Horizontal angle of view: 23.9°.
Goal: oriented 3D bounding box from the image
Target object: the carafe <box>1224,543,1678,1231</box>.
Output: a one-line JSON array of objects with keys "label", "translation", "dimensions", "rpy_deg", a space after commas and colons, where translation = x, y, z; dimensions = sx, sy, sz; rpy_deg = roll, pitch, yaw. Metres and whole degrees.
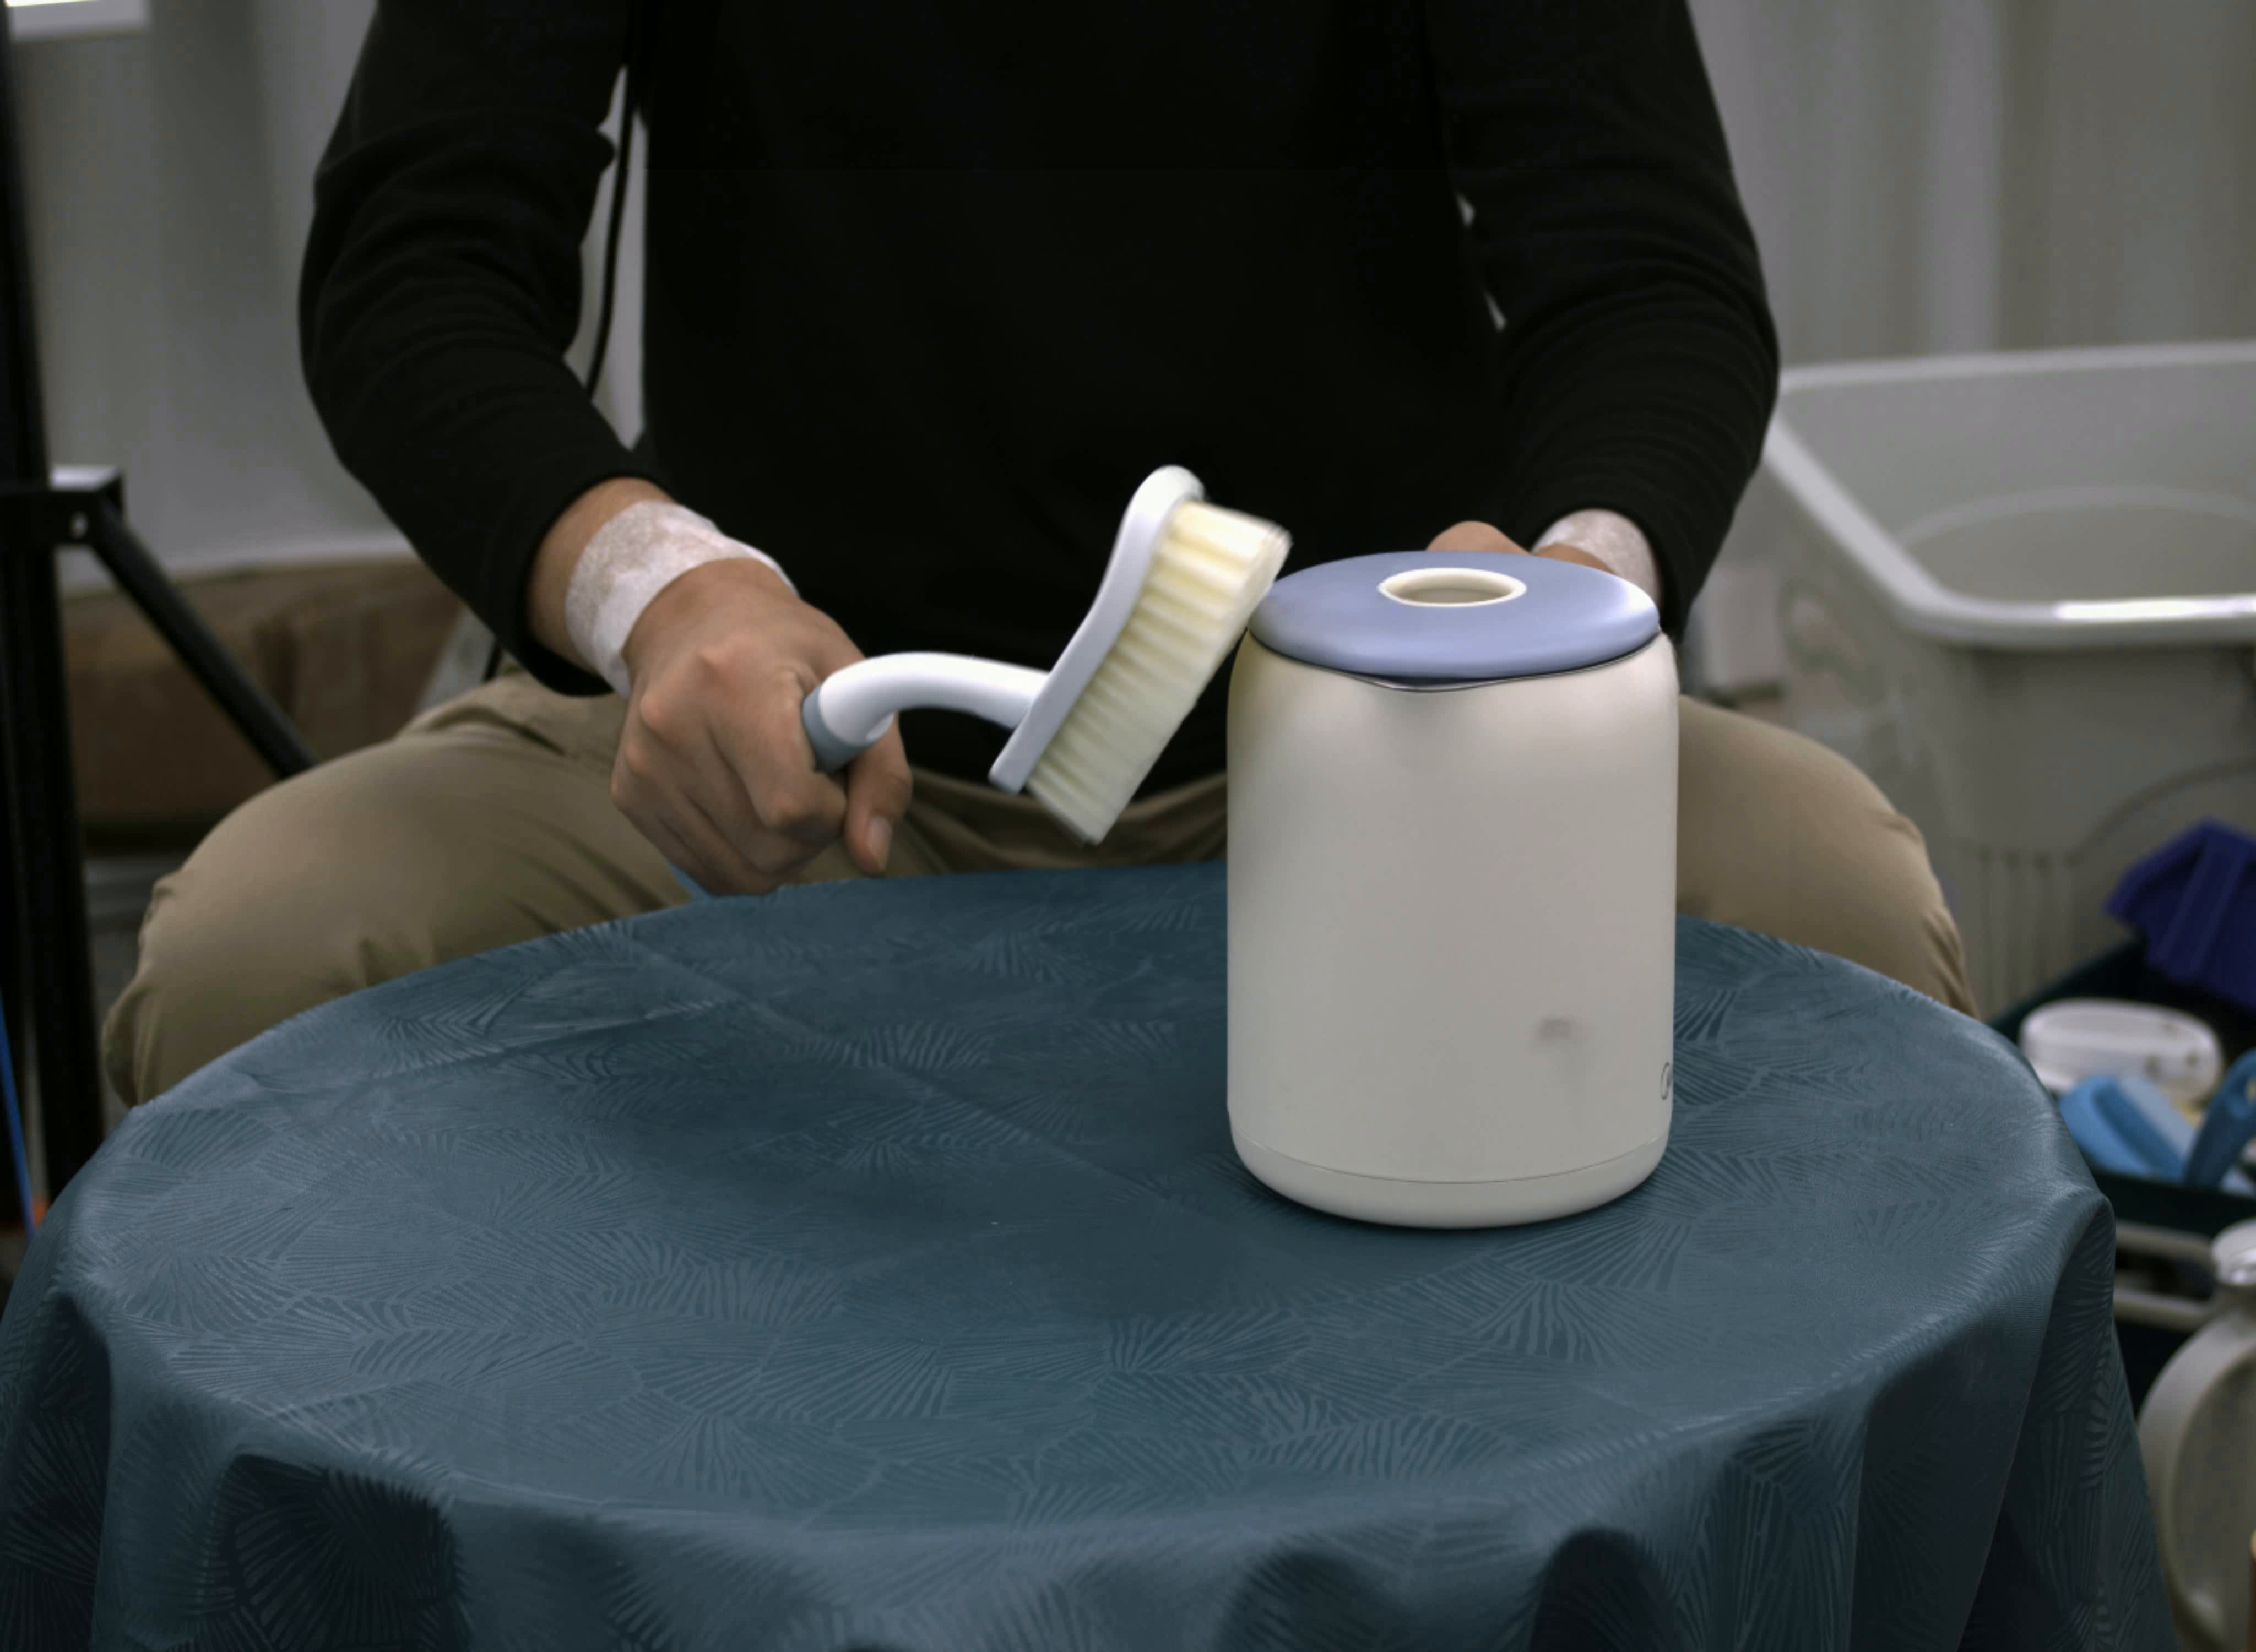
[{"label": "carafe", "translation": [0.098, 0.010, 1.564], "dimensions": [0.133, 0.182, 0.190], "rpy_deg": [3, 16, 10]}]

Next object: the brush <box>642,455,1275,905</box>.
[{"label": "brush", "translation": [-0.043, -0.021, 1.607], "dimensions": [0.081, 0.085, 0.329], "rpy_deg": [-9, -16, -34]}]
